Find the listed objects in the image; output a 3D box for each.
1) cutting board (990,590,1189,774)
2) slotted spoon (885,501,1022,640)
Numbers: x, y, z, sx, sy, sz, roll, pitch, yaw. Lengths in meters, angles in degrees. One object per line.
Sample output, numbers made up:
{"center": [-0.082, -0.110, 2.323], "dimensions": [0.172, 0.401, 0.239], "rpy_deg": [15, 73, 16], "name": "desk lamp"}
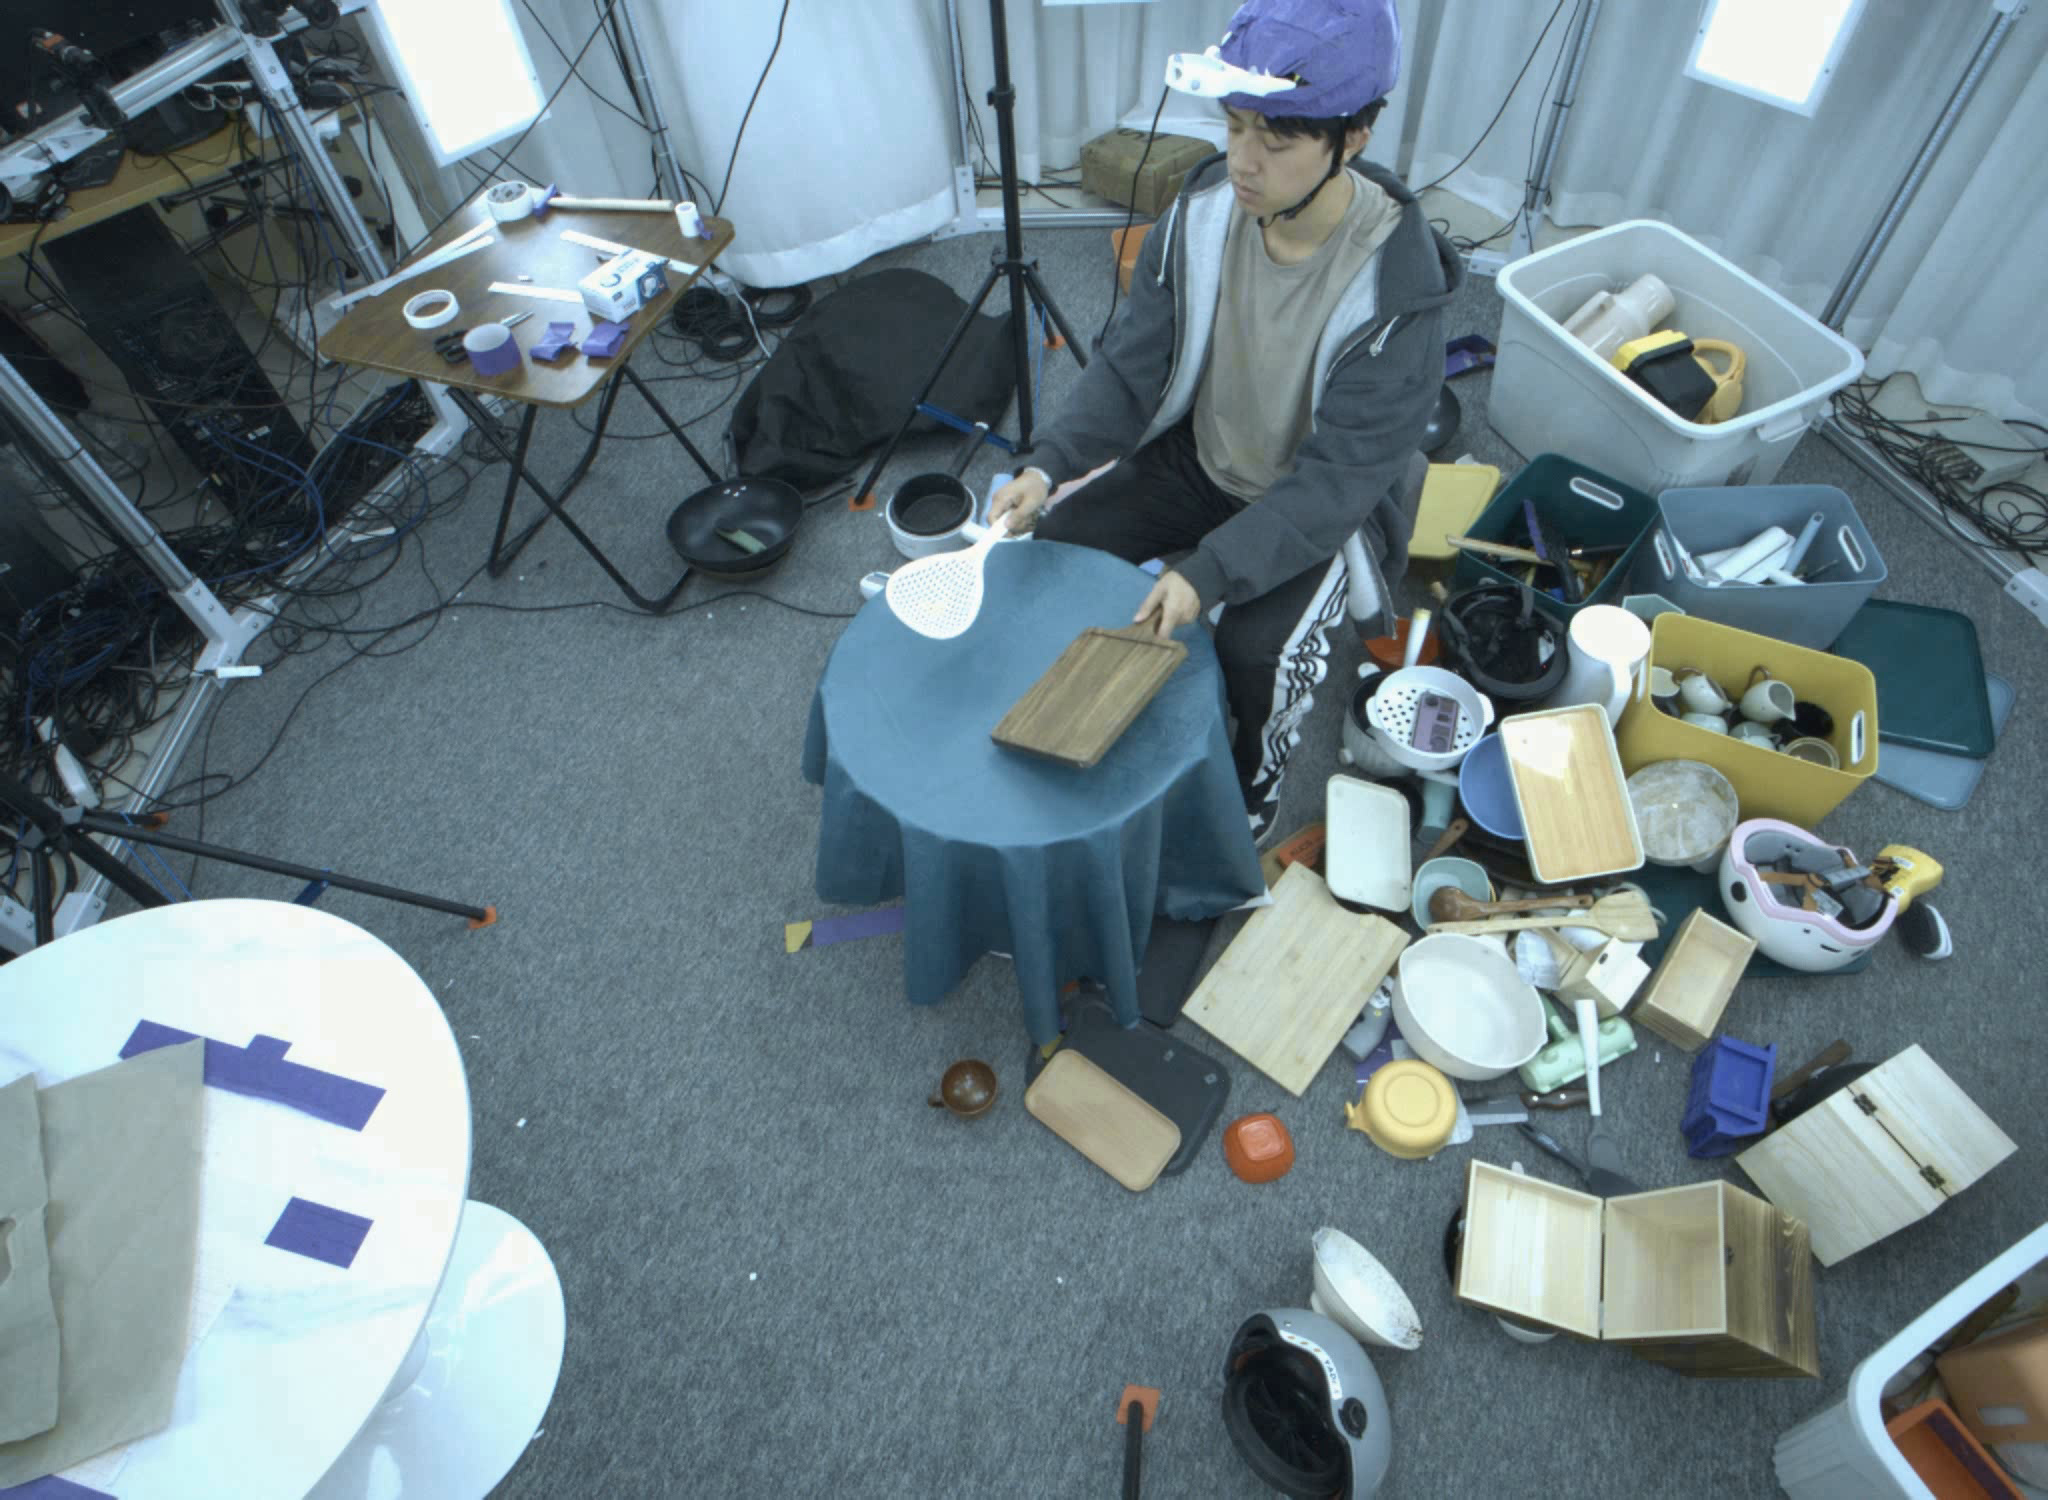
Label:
{"center": [0.123, -0.113, 1.786], "dimensions": [0.196, 0.023, 0.353], "rpy_deg": [18, 57, 41], "name": "cutting board"}
{"center": [-0.083, -0.284, 1.853], "dimensions": [0.136, 0.050, 0.349], "rpy_deg": [34, 58, 2], "name": "slotted spoon"}
